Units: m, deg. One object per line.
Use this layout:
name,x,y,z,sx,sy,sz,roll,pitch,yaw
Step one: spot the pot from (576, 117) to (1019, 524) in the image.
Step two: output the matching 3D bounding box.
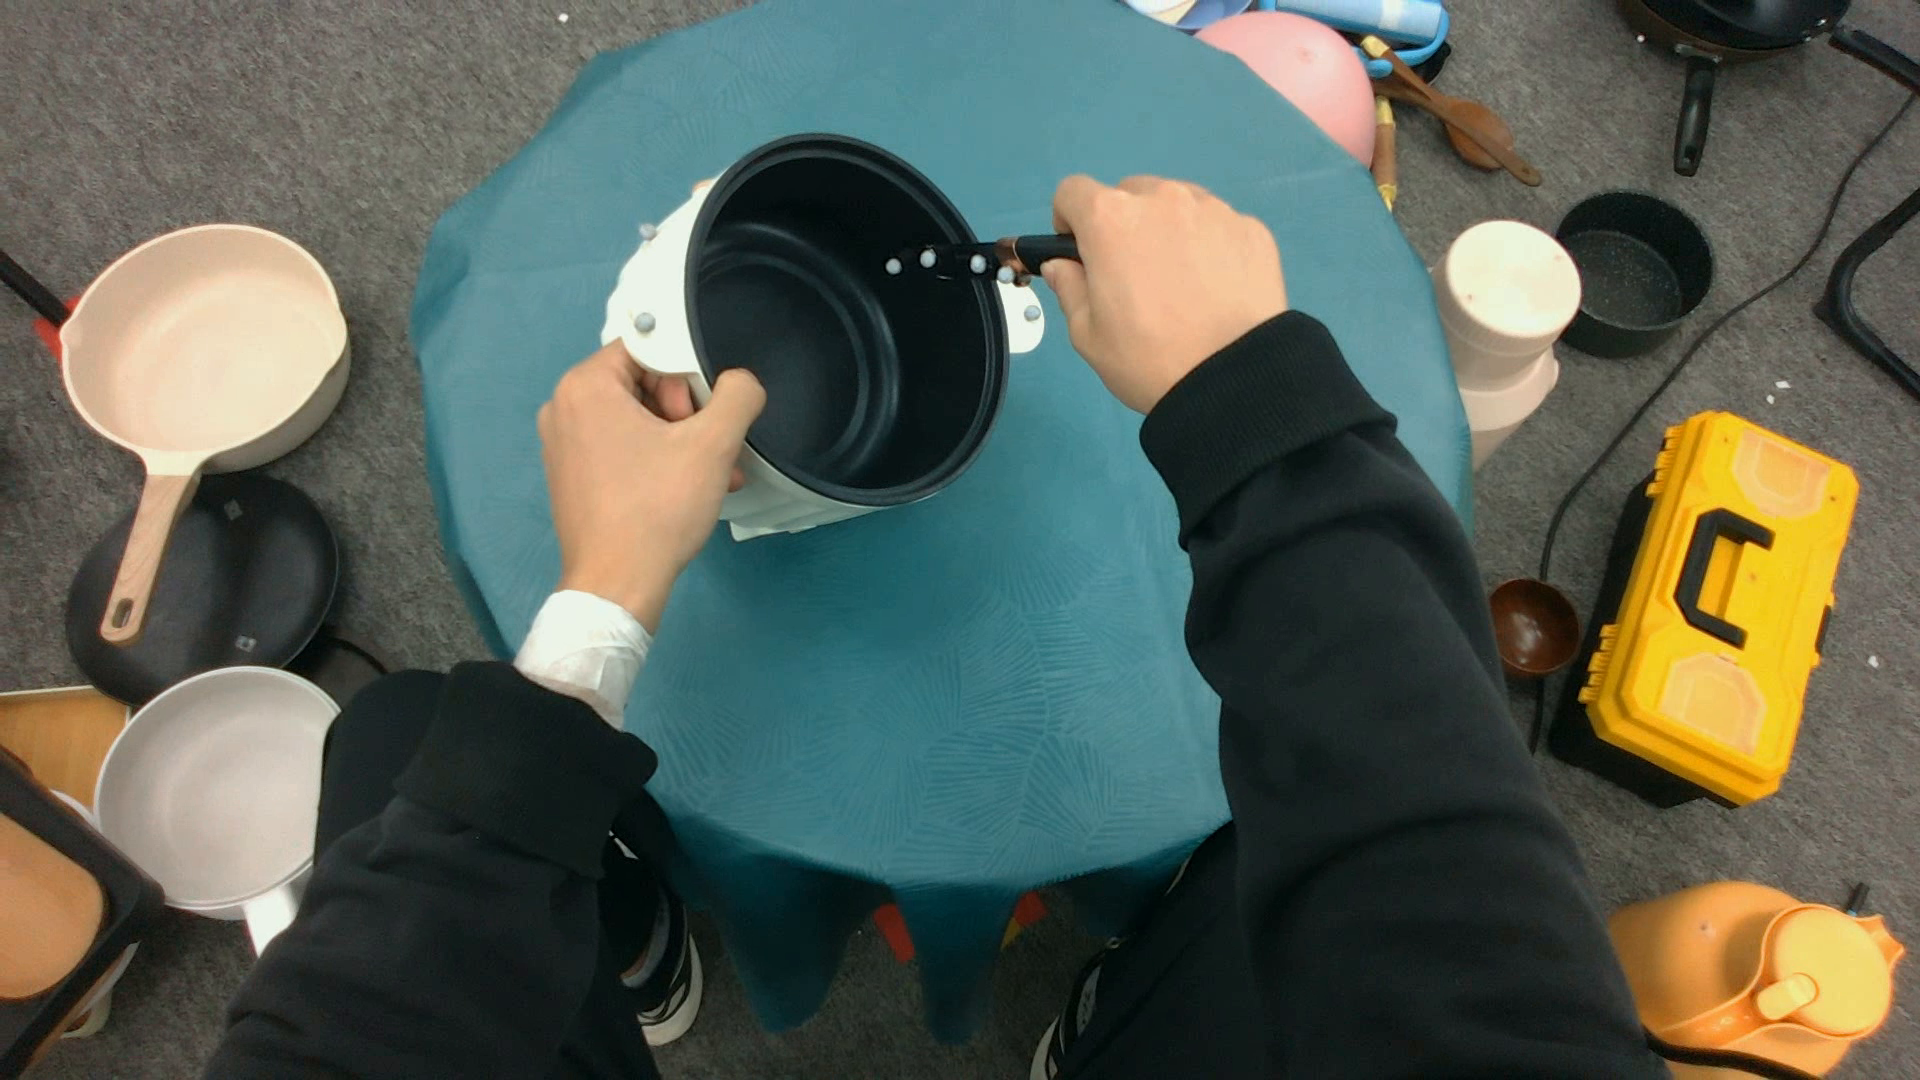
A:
pot,-0.100,-0.110,0.705,0.241,0.142,0.190,-12,92,-40

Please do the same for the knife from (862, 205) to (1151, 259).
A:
knife,0.010,-0.146,0.662,0.026,0.225,0.017,33,78,-36
